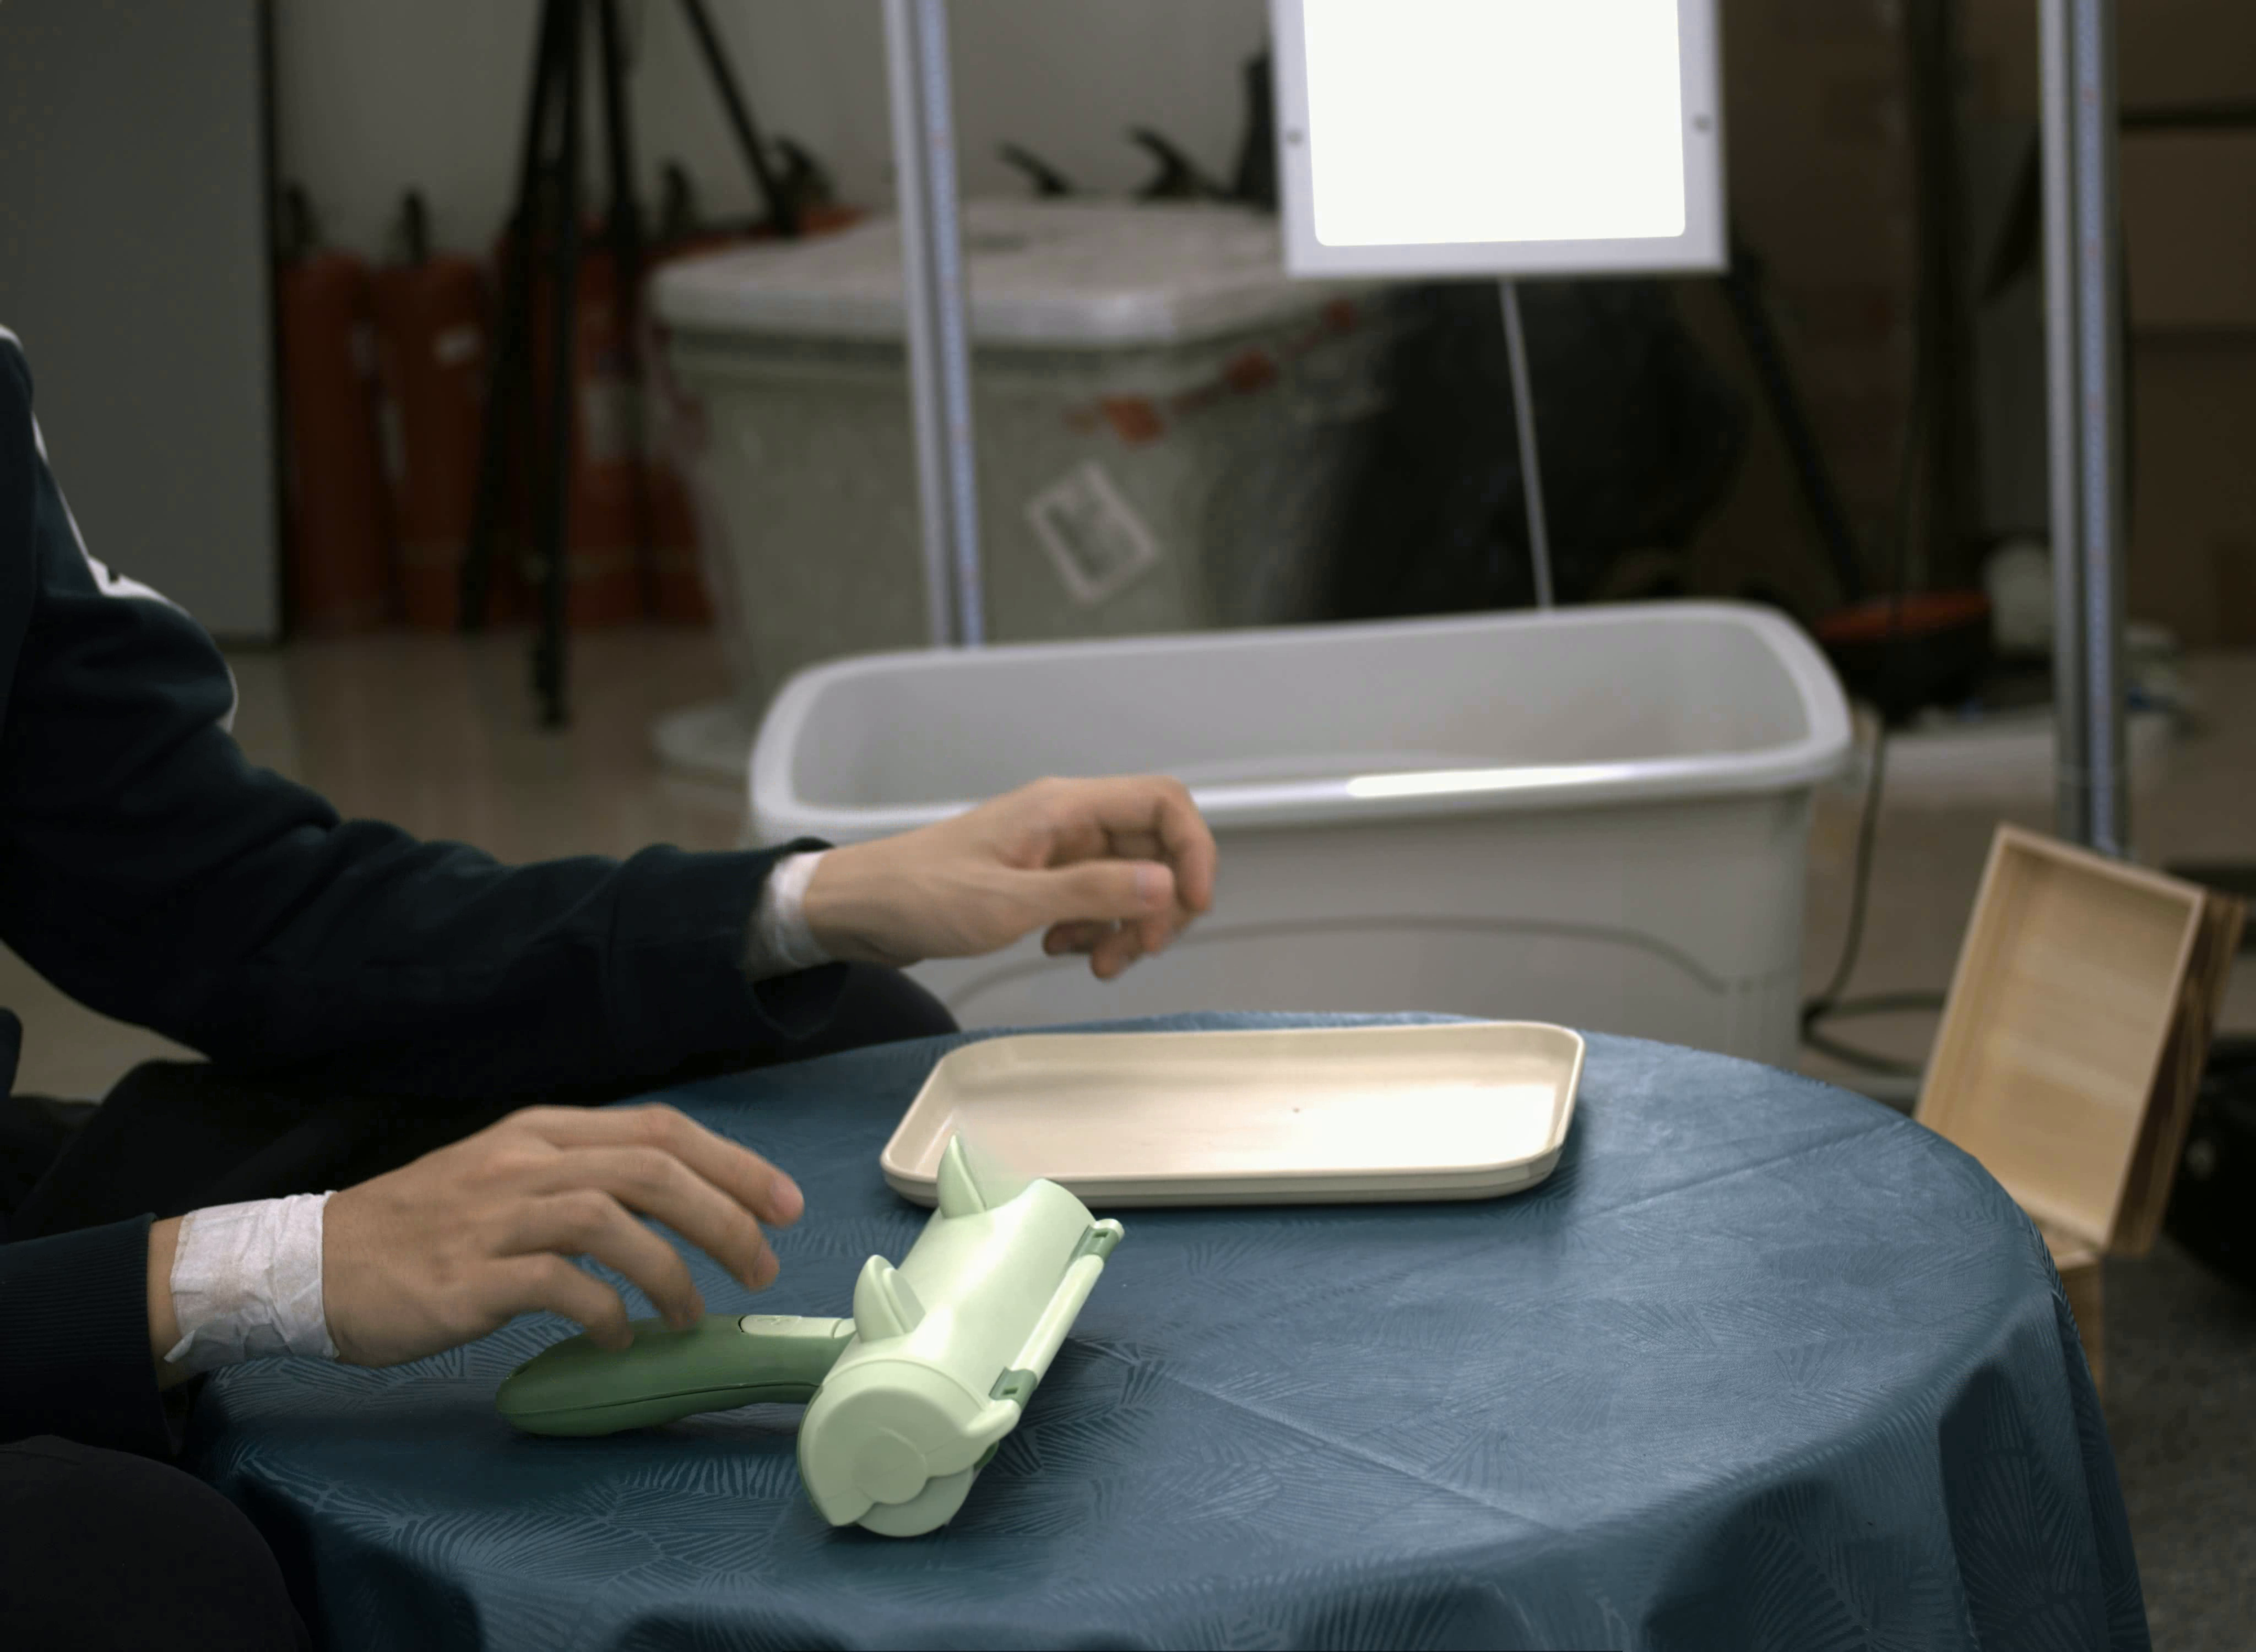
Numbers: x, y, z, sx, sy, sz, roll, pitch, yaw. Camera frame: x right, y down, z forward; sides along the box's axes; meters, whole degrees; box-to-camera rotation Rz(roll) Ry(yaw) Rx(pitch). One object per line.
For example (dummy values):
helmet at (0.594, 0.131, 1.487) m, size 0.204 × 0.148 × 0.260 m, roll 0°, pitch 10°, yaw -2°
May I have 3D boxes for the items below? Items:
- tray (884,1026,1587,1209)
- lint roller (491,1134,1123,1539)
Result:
tray at (0.041, 0.103, 1.937) m, size 0.241 × 0.017 × 0.169 m, roll -2°, pitch 13°, yaw 11°
lint roller at (-0.107, 0.149, 1.683) m, size 0.184 × 0.082 × 0.196 m, roll 2°, pitch 15°, yaw 11°
